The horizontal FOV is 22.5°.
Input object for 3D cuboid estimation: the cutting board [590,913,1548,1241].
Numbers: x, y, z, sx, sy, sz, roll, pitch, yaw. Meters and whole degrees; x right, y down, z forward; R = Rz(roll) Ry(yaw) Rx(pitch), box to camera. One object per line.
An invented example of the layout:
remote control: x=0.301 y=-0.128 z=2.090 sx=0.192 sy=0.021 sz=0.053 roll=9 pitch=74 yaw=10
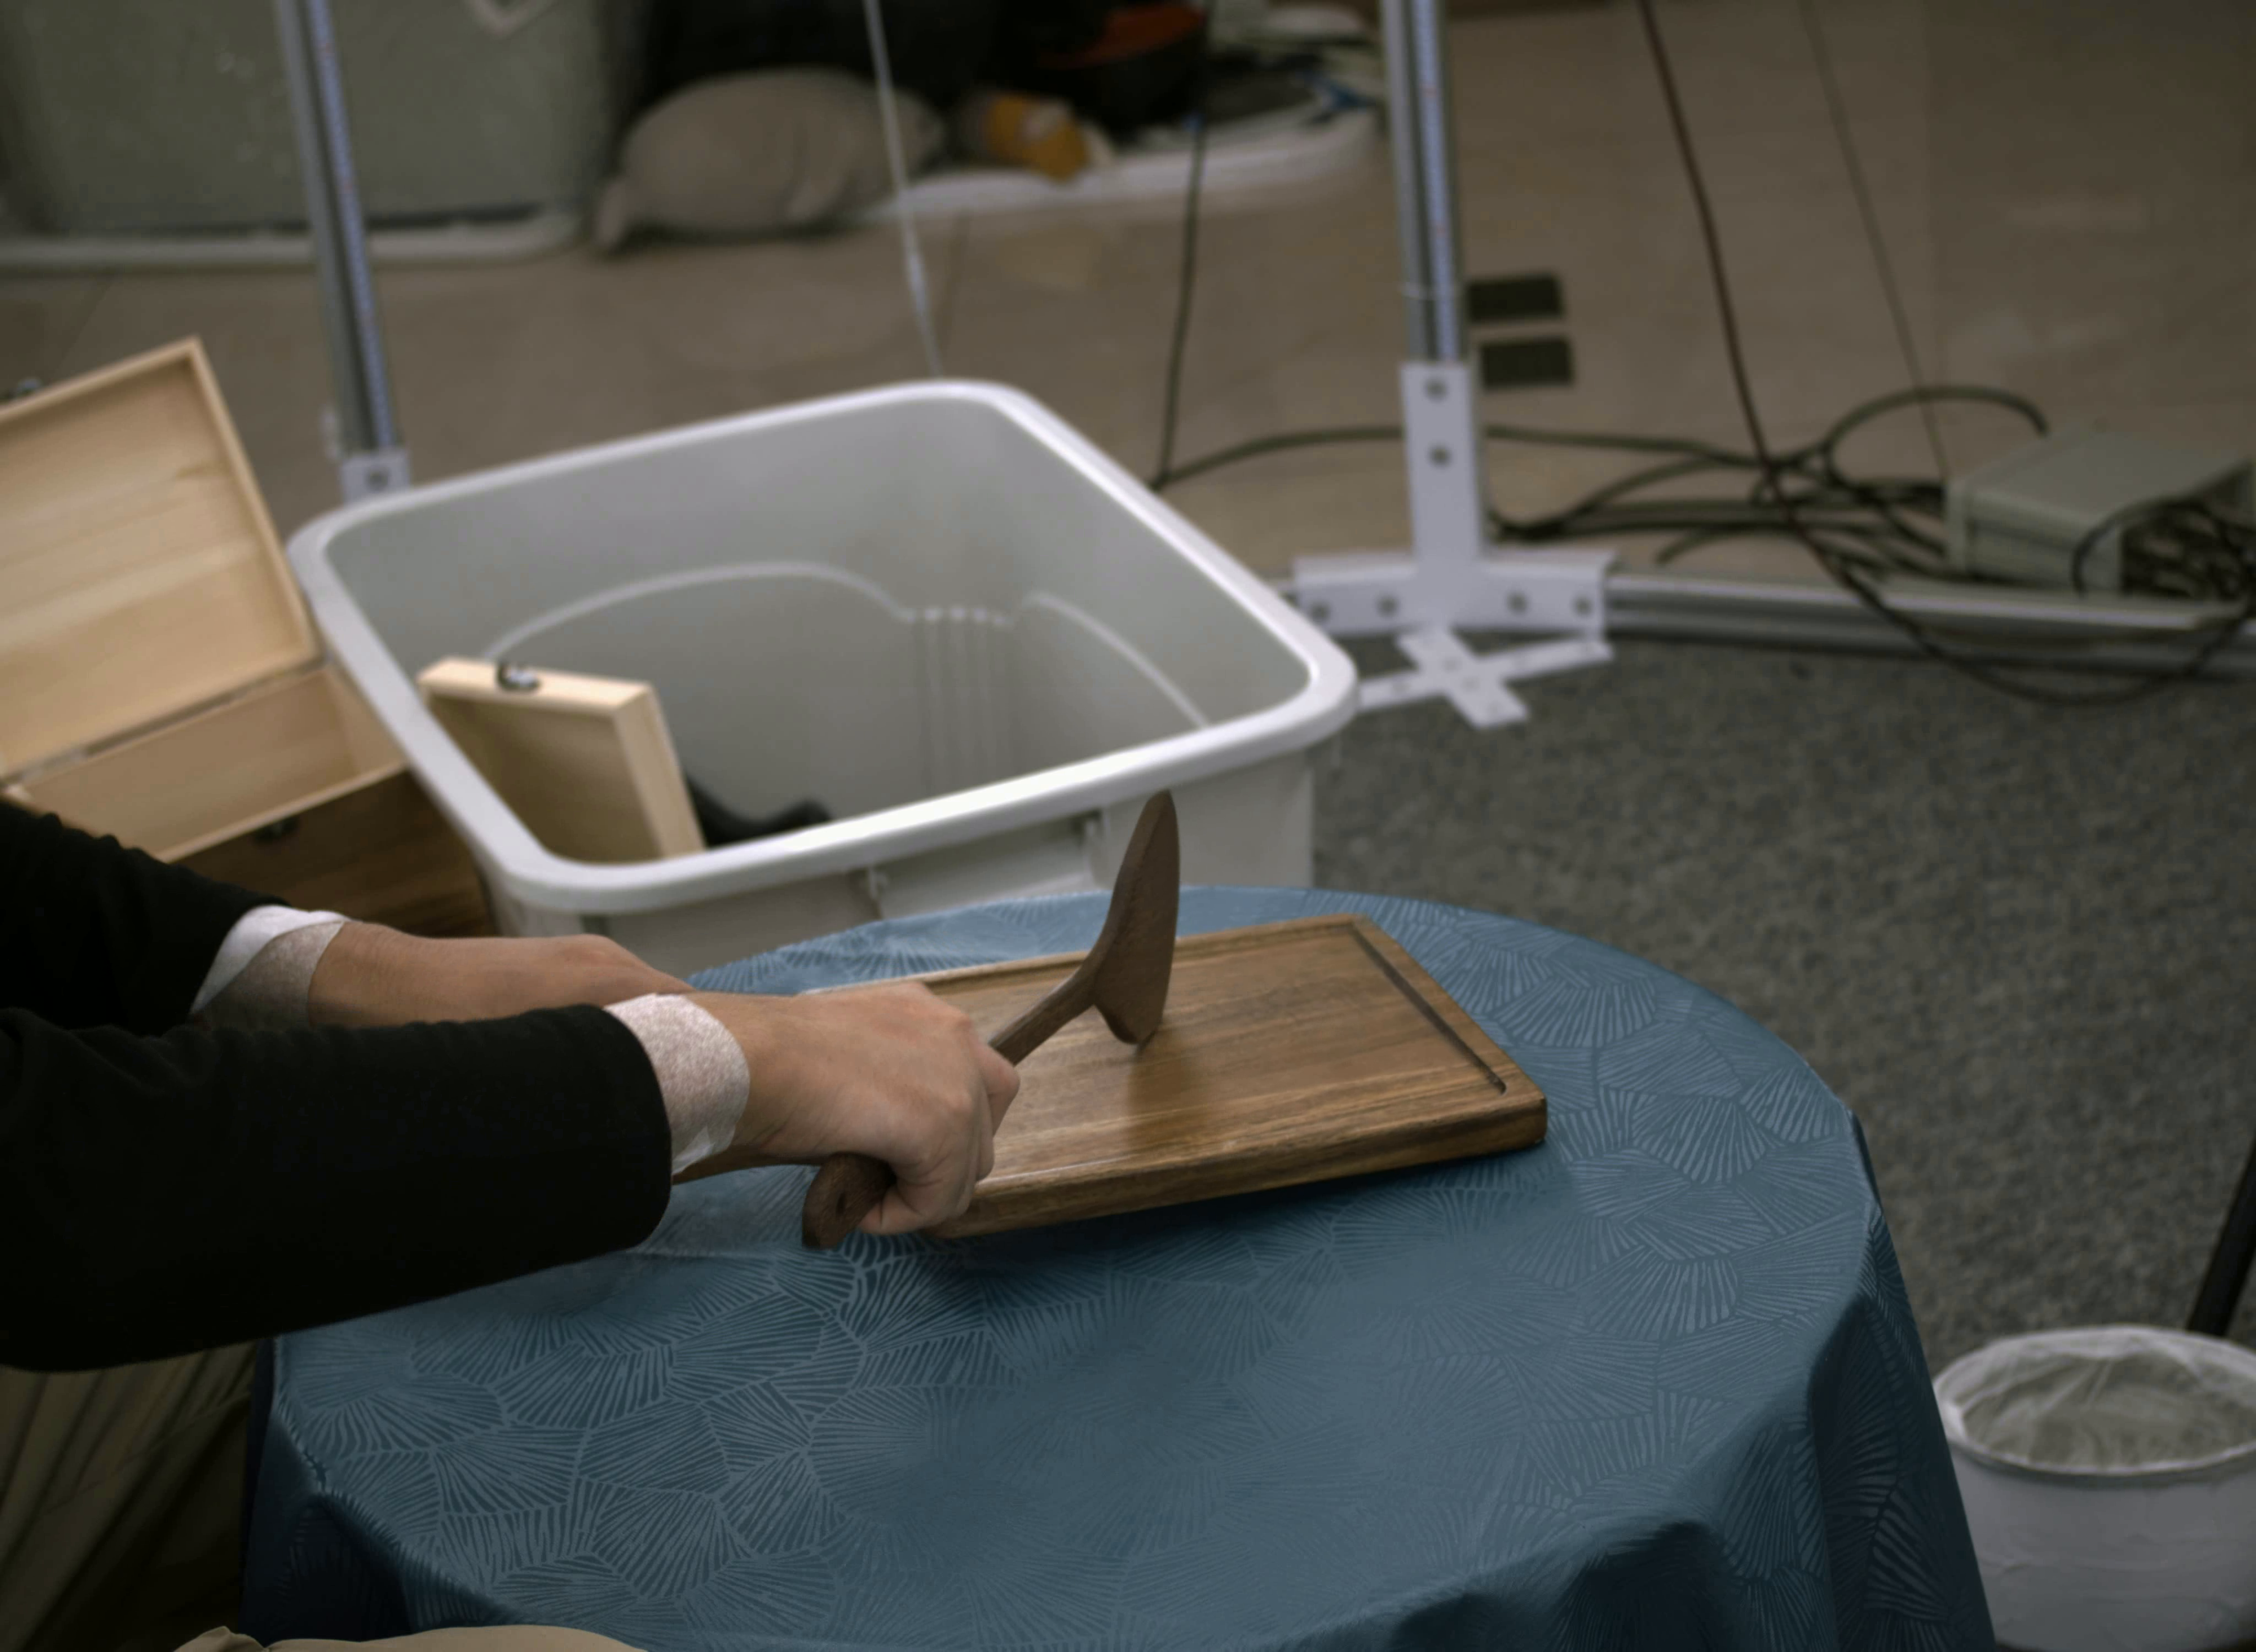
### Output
cutting board: x=-0.036 y=0.100 z=2.175 sx=0.351 sy=0.023 sz=0.198 roll=-8 pitch=24 yaw=-18

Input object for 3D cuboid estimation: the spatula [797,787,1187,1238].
spatula: x=-0.043 y=0.076 z=2.052 sx=0.016 sy=0.097 sz=0.382 roll=9 pitch=19 yaw=19
